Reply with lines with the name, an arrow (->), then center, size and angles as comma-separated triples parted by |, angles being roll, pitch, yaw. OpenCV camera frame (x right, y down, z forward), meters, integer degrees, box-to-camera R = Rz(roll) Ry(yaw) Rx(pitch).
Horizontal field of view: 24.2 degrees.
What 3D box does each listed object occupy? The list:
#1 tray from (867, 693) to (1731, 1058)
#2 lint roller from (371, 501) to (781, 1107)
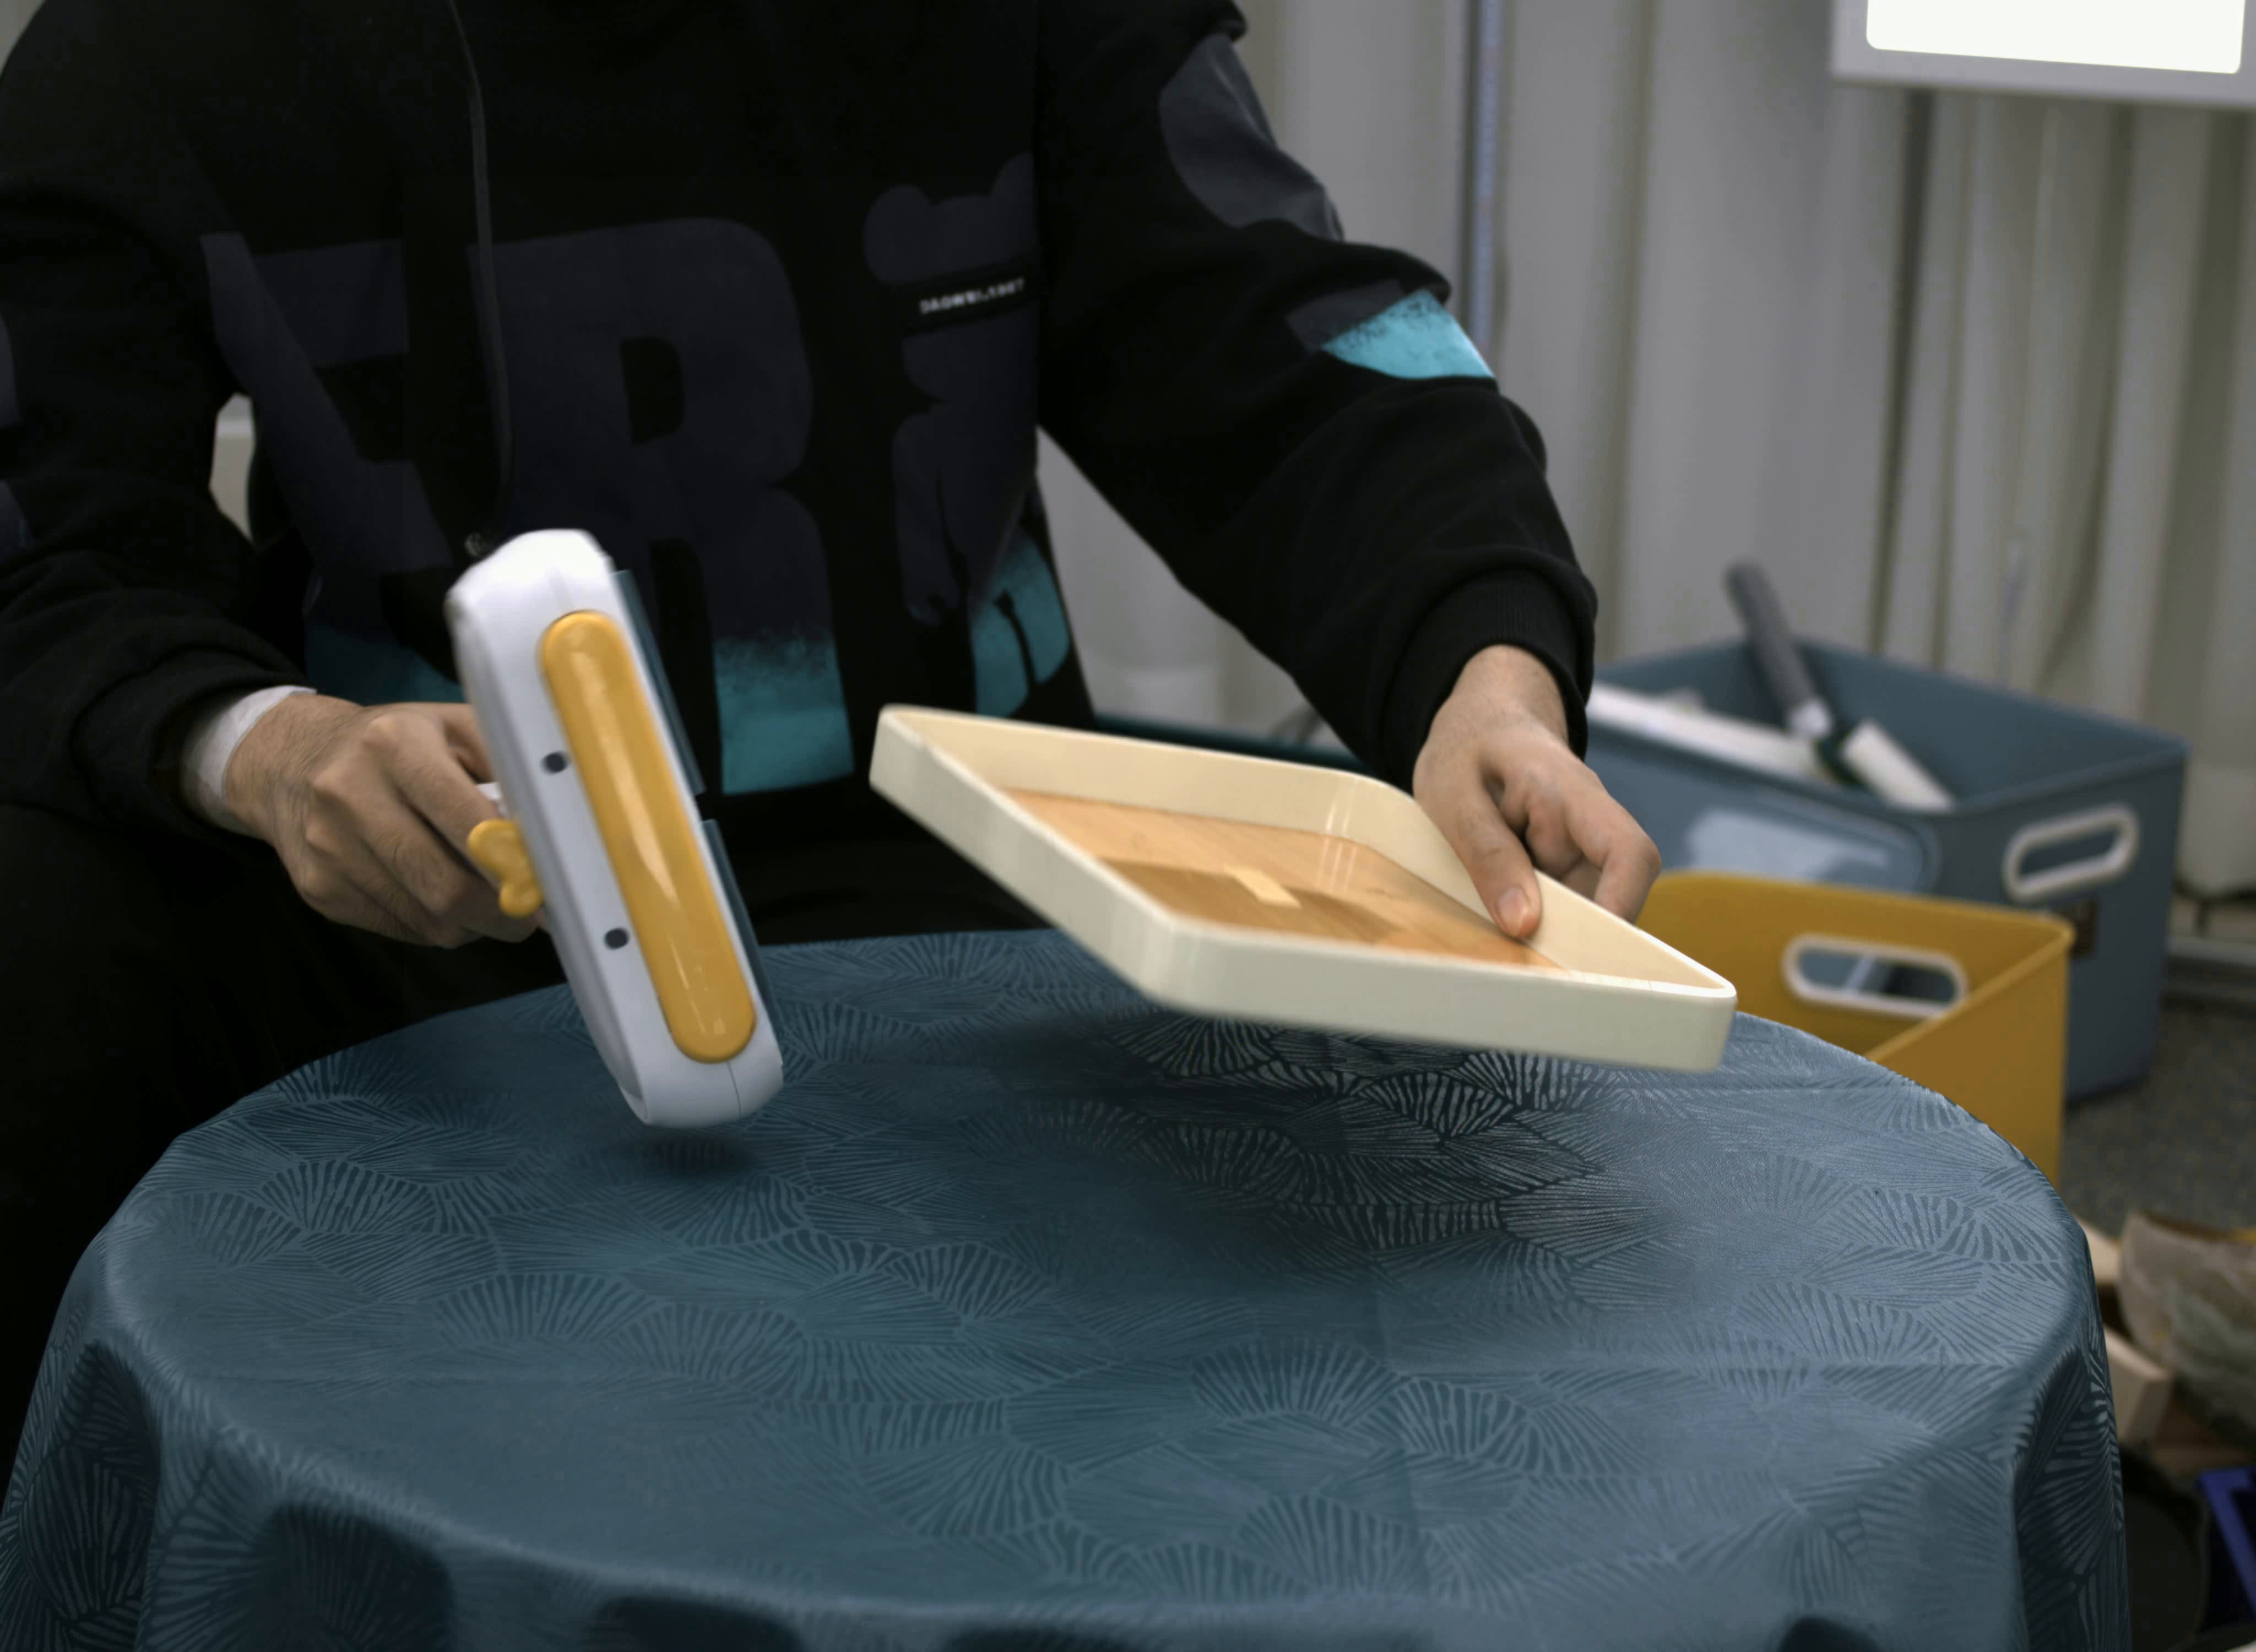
tray -> 0.046, 0.013, 1.656 | 0.192, 0.027, 0.297 | 10, 9, -22
lint roller -> -0.187, 0.000, 1.674 | 0.074, 0.194, 0.191 | -26, 8, -23
